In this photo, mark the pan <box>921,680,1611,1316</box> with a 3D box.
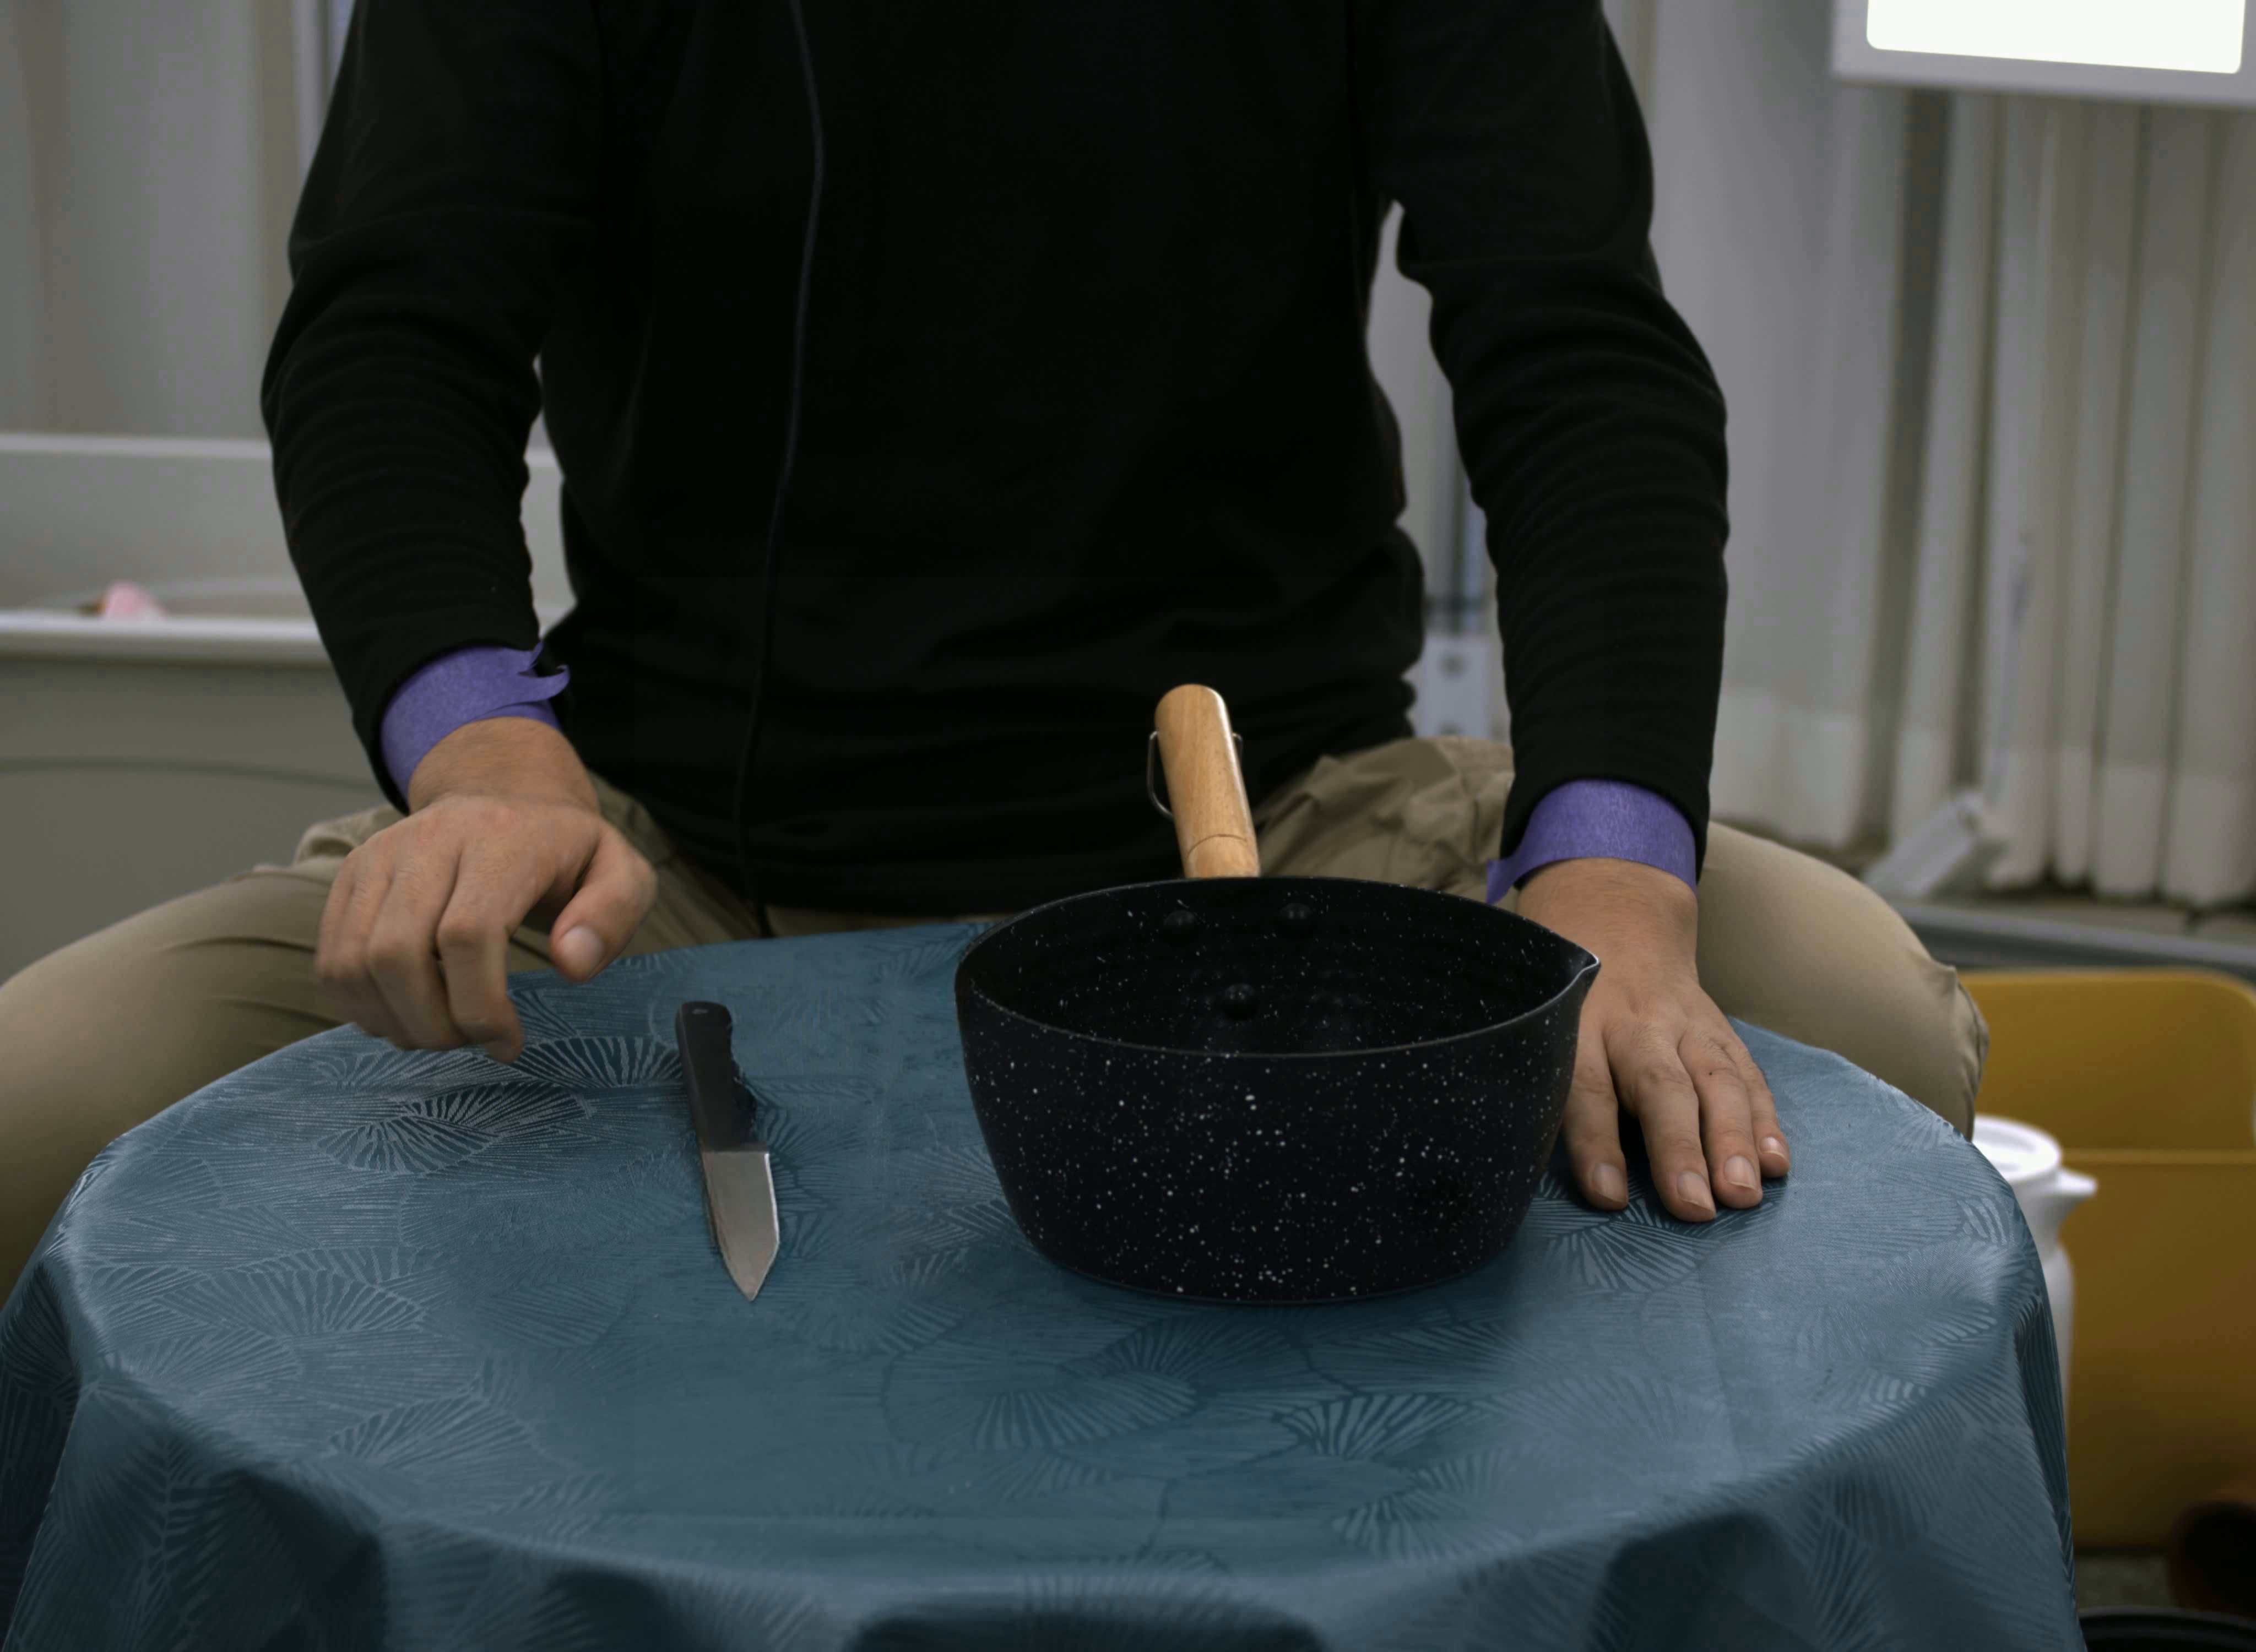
[{"bbox_3d":[0.035,0.049,1.655,0.207,0.109,0.340,-2,17,-6],"label":"pan"}]

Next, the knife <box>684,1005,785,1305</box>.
[{"bbox_3d":[-0.124,0.101,1.638,0.024,0.016,0.236,1,18,-9],"label":"knife"}]
